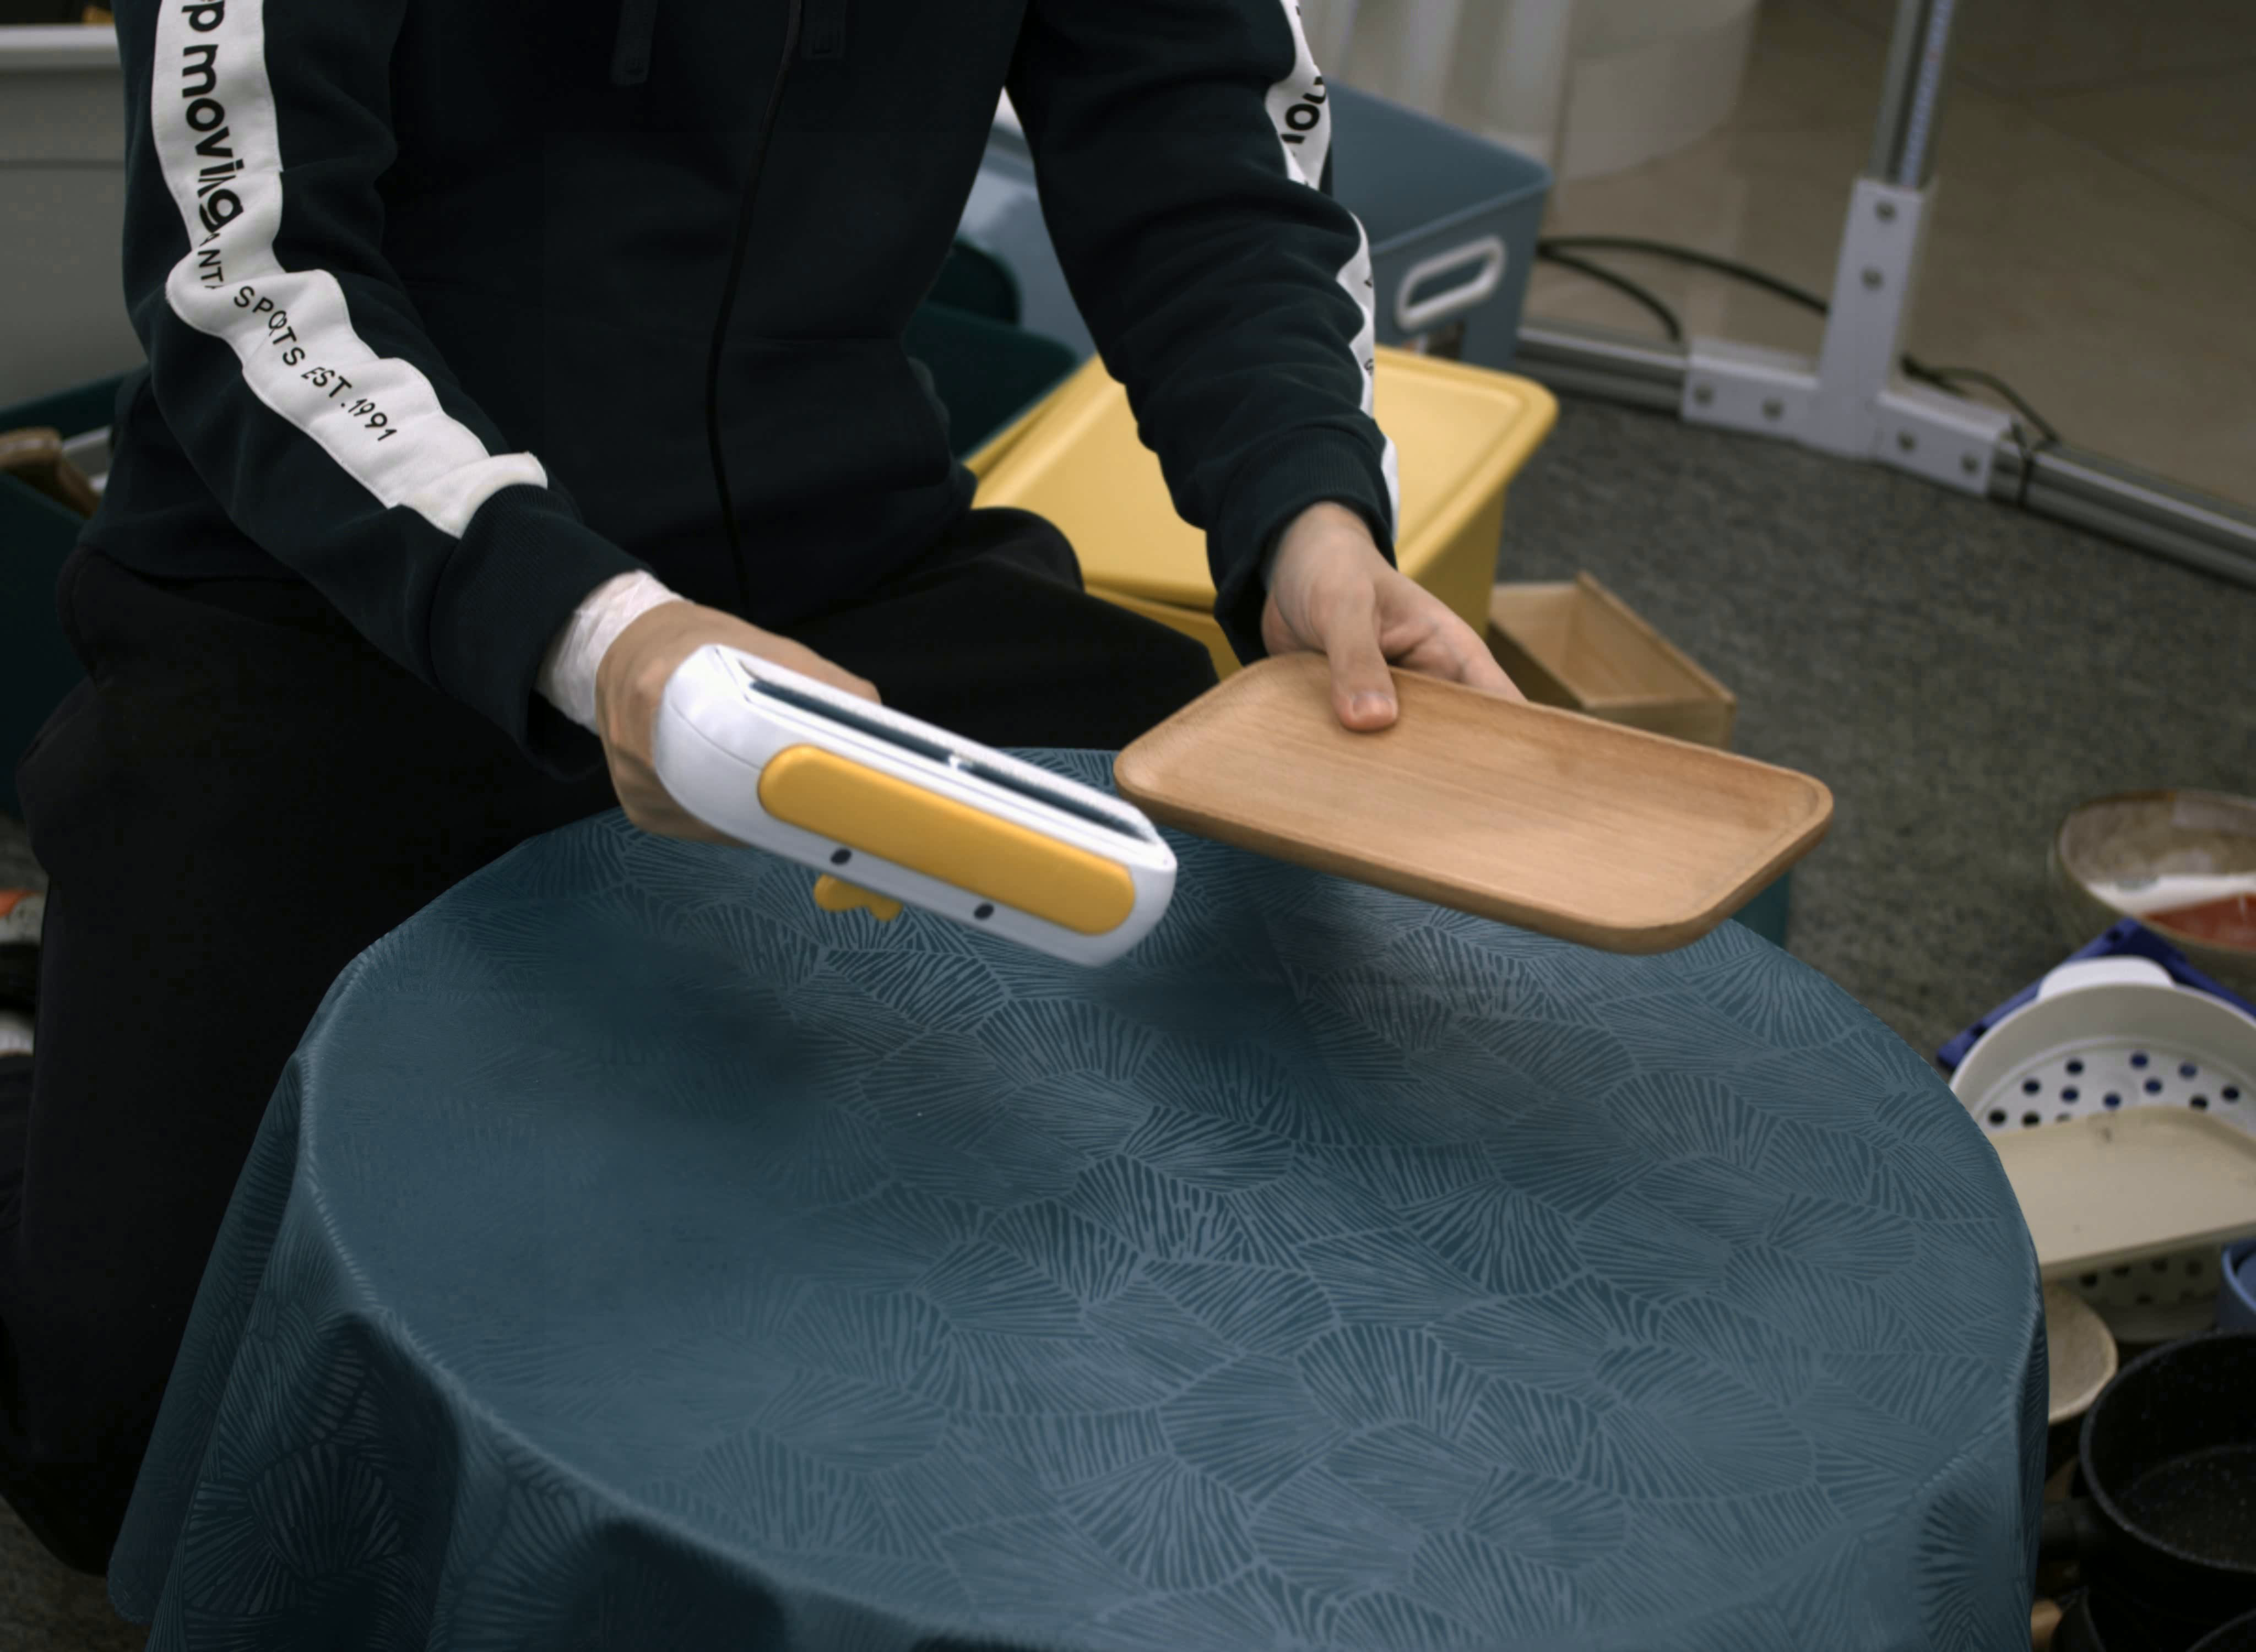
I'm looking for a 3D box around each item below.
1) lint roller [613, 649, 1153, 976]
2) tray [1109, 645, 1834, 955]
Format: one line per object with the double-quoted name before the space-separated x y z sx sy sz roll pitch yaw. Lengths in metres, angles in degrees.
"lint roller" -0.105 -0.002 1.829 0.191 0.074 0.193 19 -3 -22
"tray" 0.119 -0.011 1.875 0.252 0.023 0.130 16 32 37
